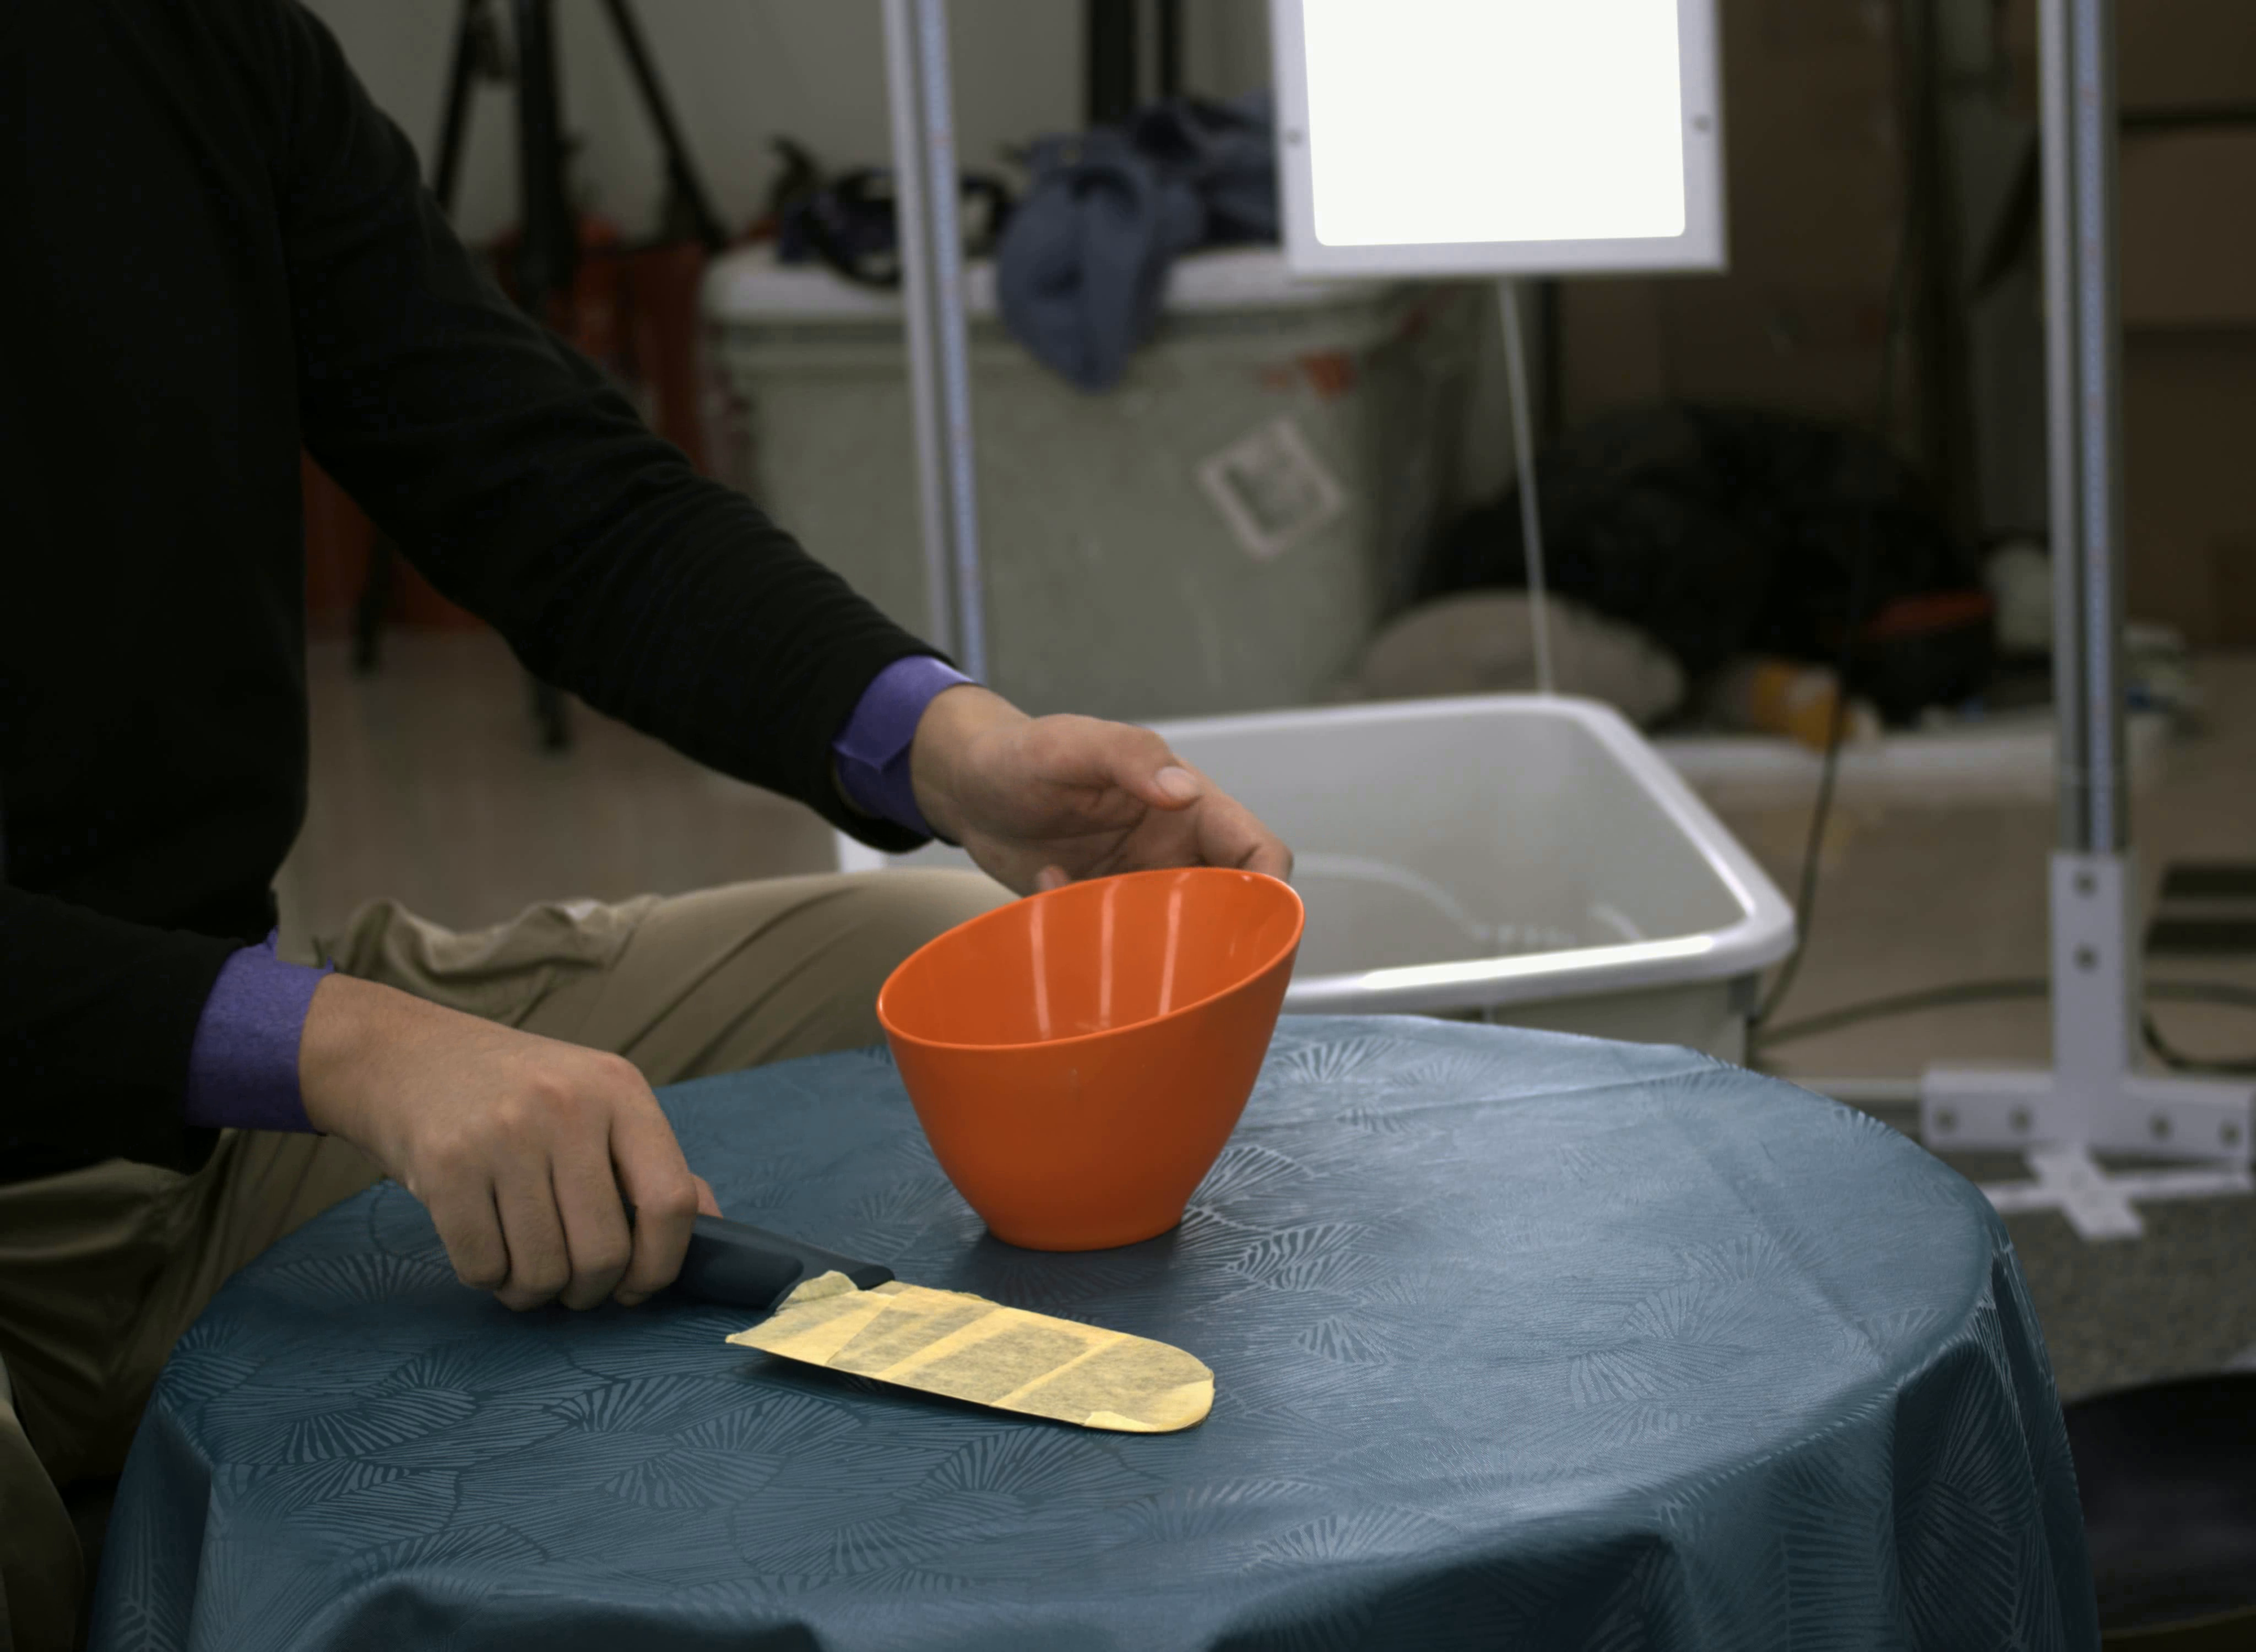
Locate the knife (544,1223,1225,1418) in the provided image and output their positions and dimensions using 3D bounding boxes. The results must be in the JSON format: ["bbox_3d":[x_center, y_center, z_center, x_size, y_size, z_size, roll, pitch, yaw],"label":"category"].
[{"bbox_3d":[-0.087,0.160,1.765,0.295,0.027,0.079,8,16,39],"label":"knife"}]

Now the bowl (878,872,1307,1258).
[{"bbox_3d":[-0.008,0.084,1.864,0.147,0.105,0.148,-5,15,0],"label":"bowl"}]
